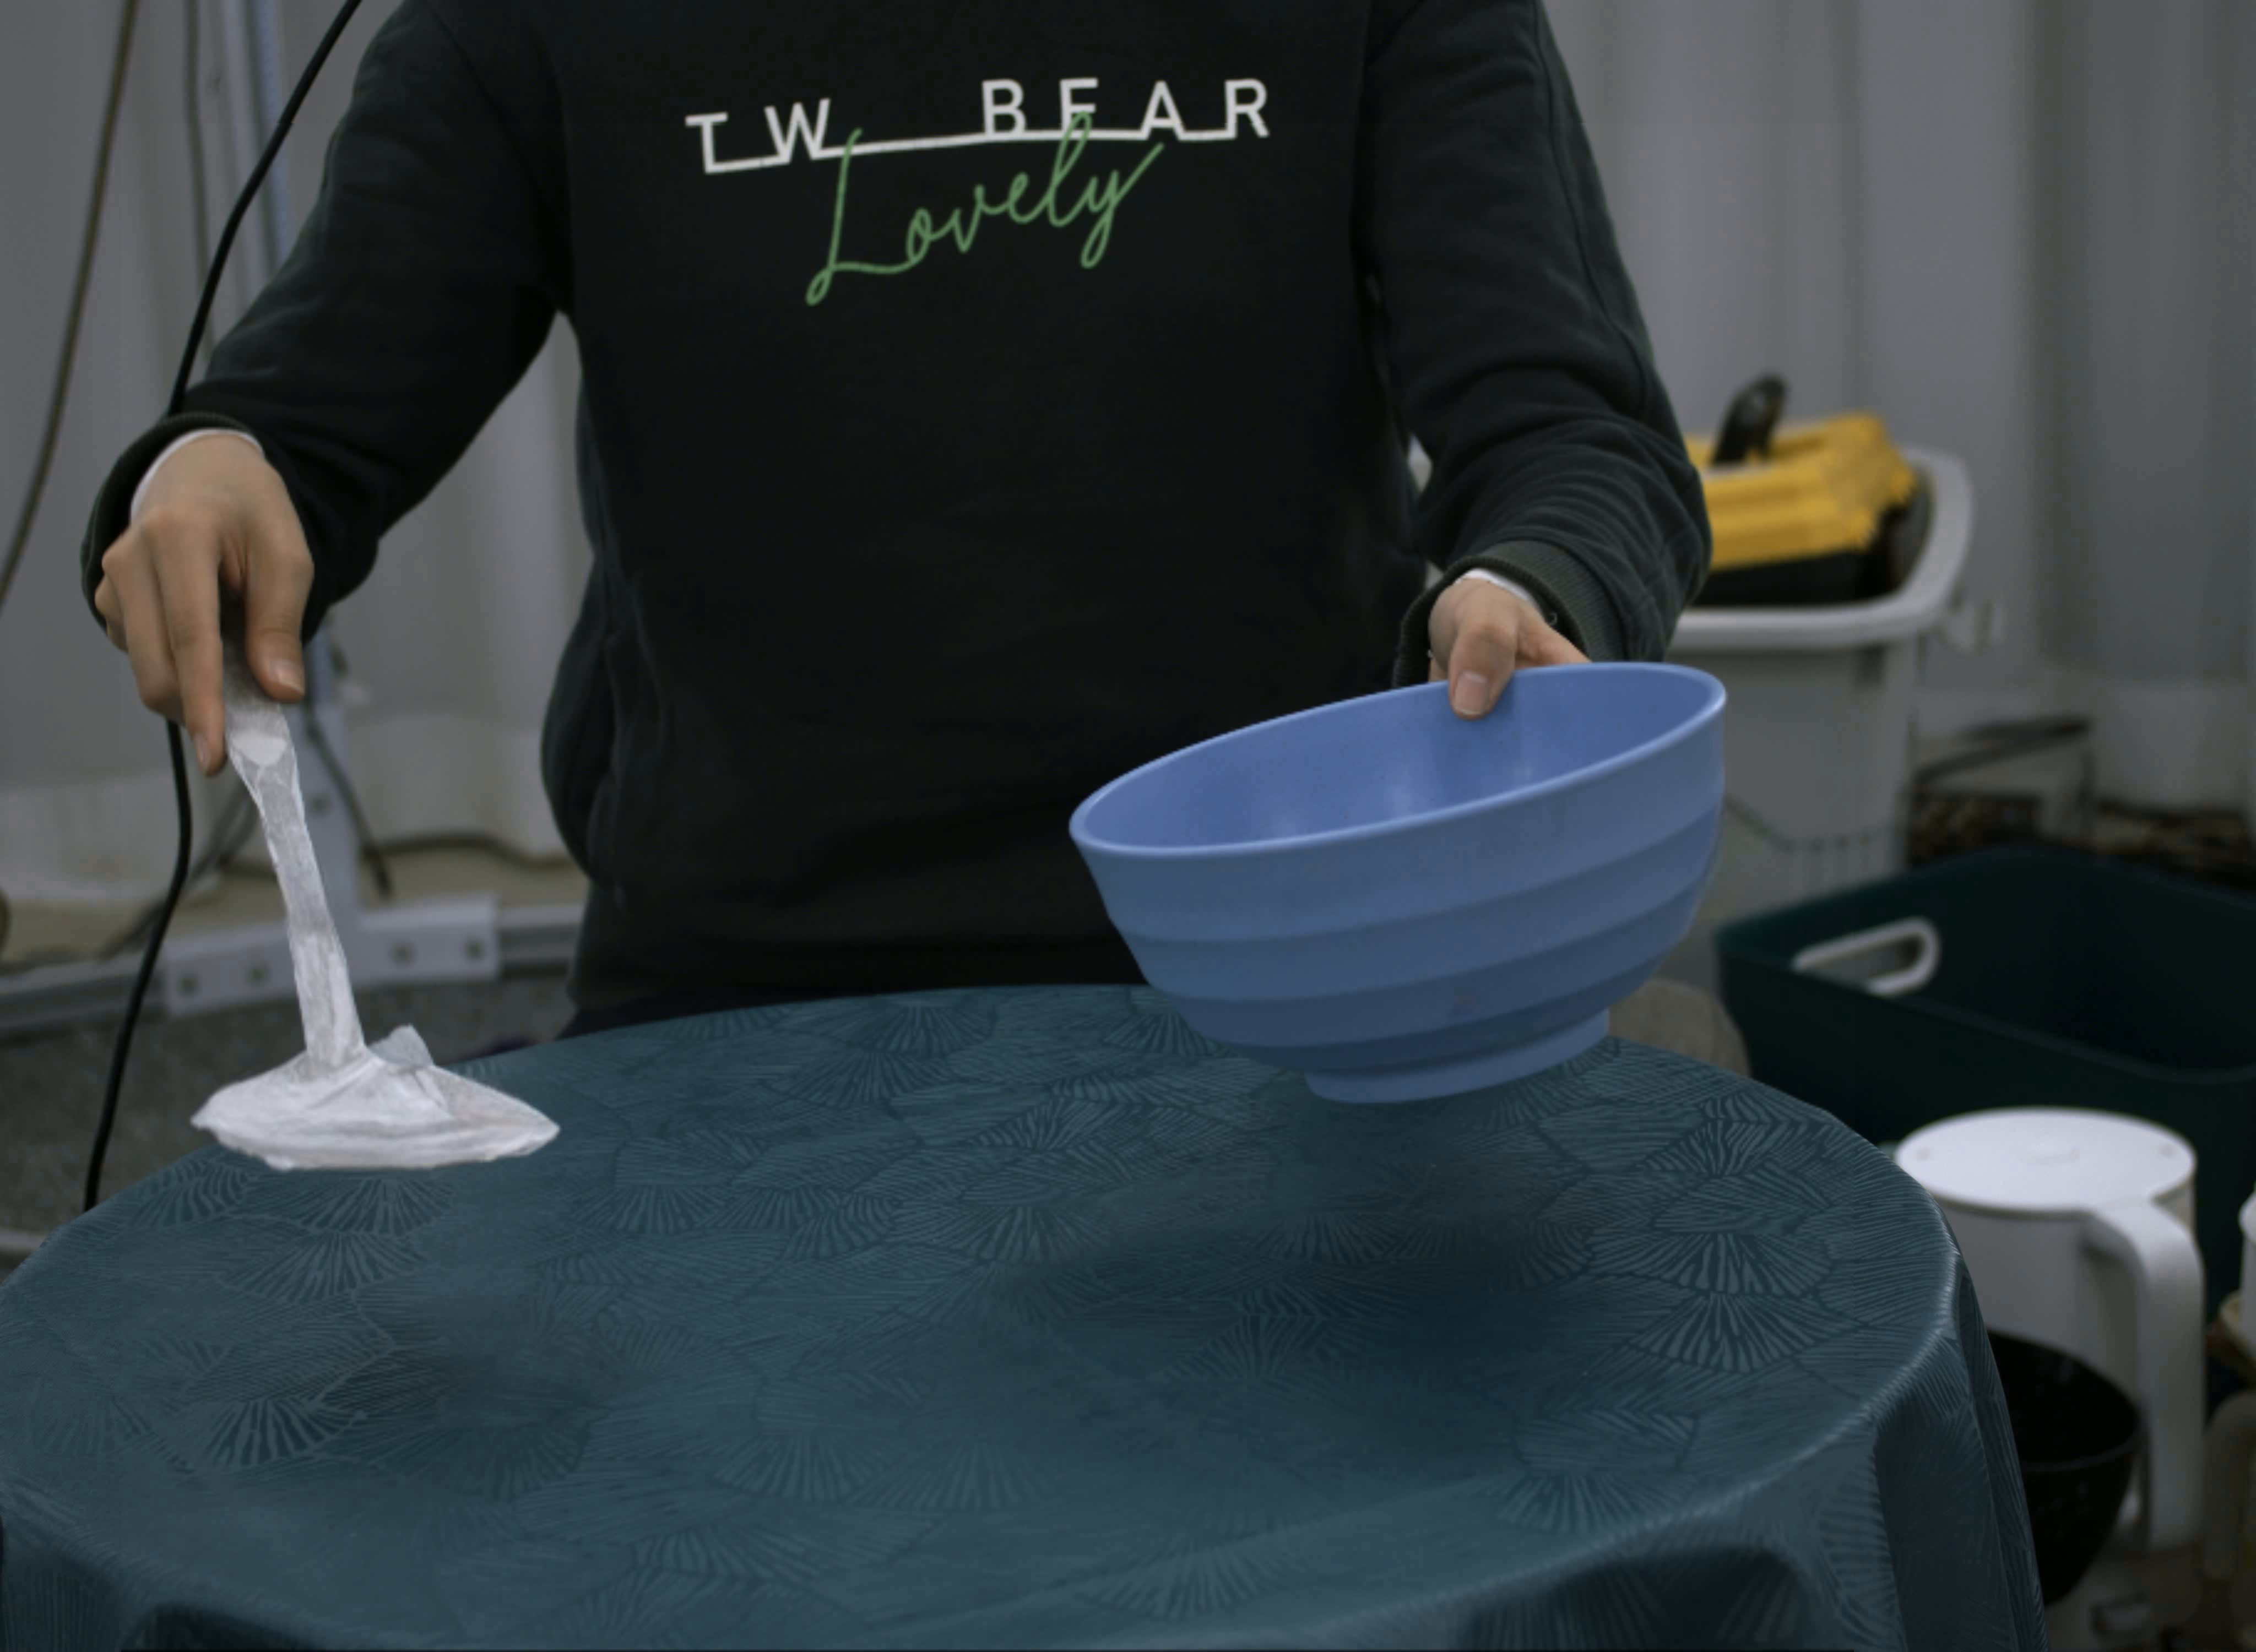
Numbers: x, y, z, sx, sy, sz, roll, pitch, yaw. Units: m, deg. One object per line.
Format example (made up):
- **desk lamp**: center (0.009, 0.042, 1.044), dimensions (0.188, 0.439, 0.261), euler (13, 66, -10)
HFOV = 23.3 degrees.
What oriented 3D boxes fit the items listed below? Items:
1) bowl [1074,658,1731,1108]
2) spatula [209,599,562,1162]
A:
- **bowl**: center (0.089, 0.023, 1.607), dimensions (0.196, 0.095, 0.197), euler (-12, 12, 2)
- **spatula**: center (-0.250, 0.008, 1.675), dimensions (0.098, 0.044, 0.370), euler (-2, 34, -17)
